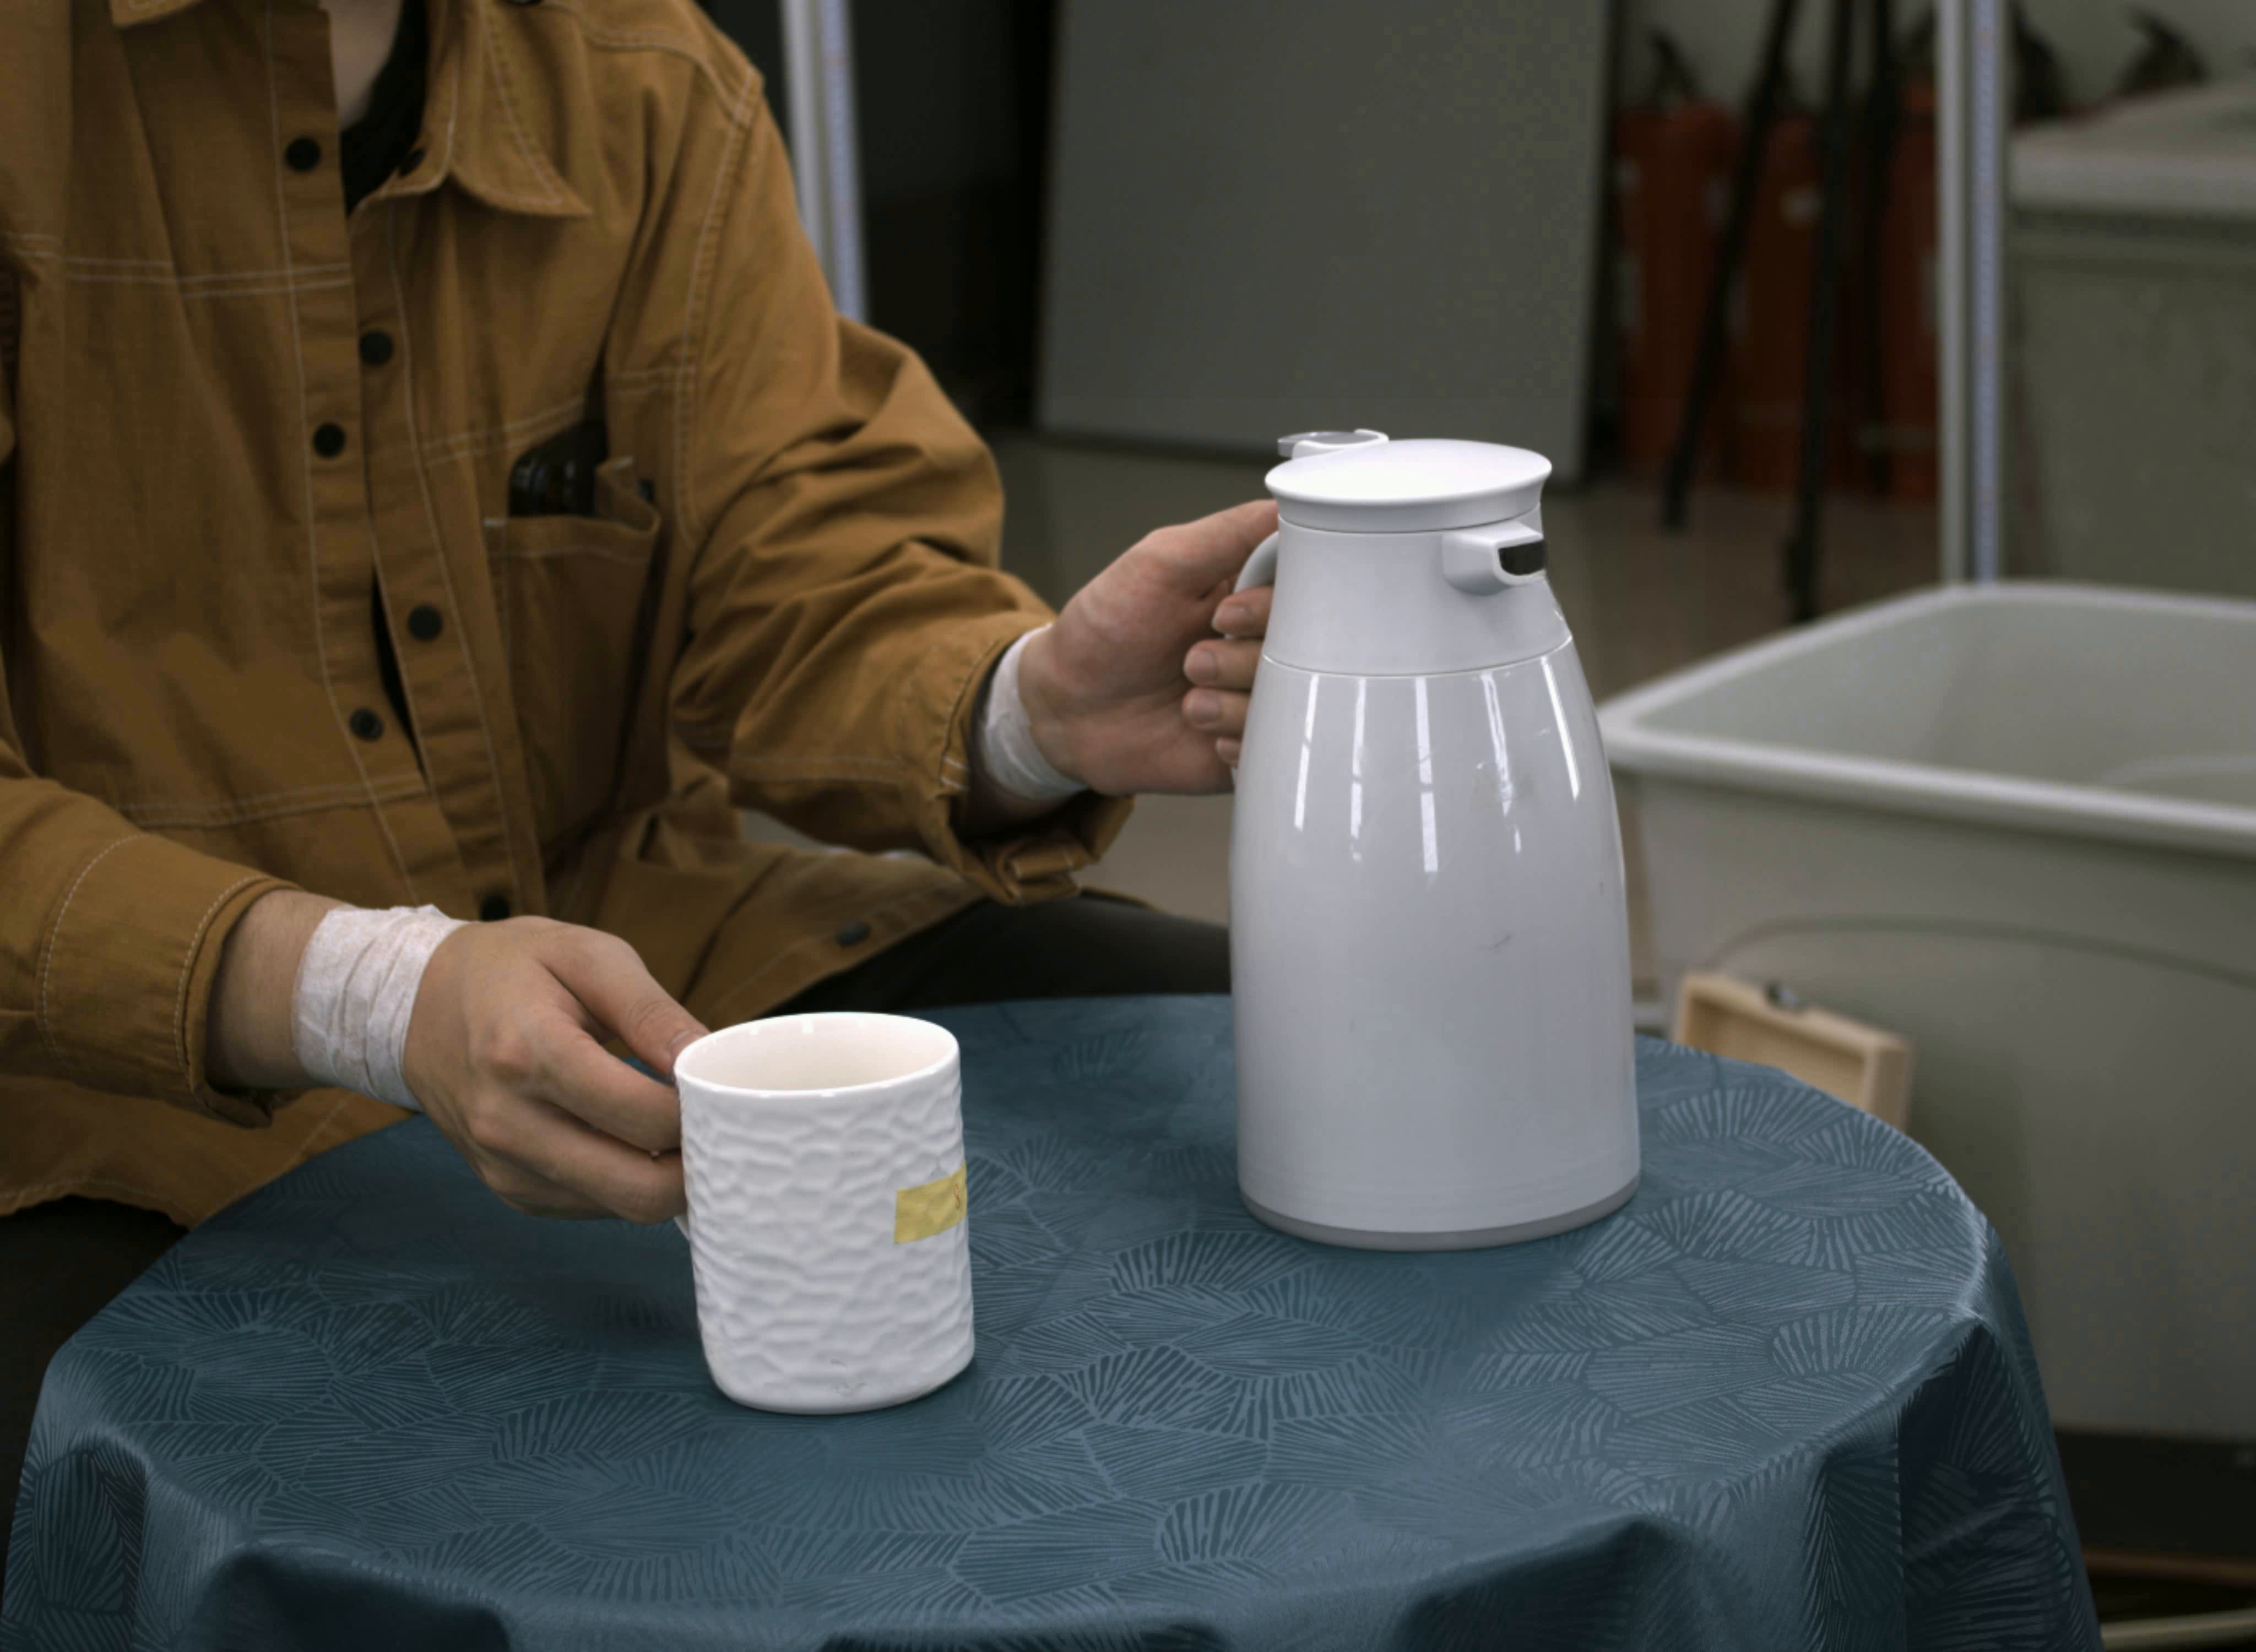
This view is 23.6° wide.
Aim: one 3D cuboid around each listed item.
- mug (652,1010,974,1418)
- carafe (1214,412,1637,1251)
[{"bbox_3d":[-0.101,0.113,1.623,0.083,0.103,0.119,-15,17,-41],"label":"mug"},{"bbox_3d":[0.082,-0.006,1.742,0.129,0.251,0.169,-13,15,-30],"label":"carafe"}]
